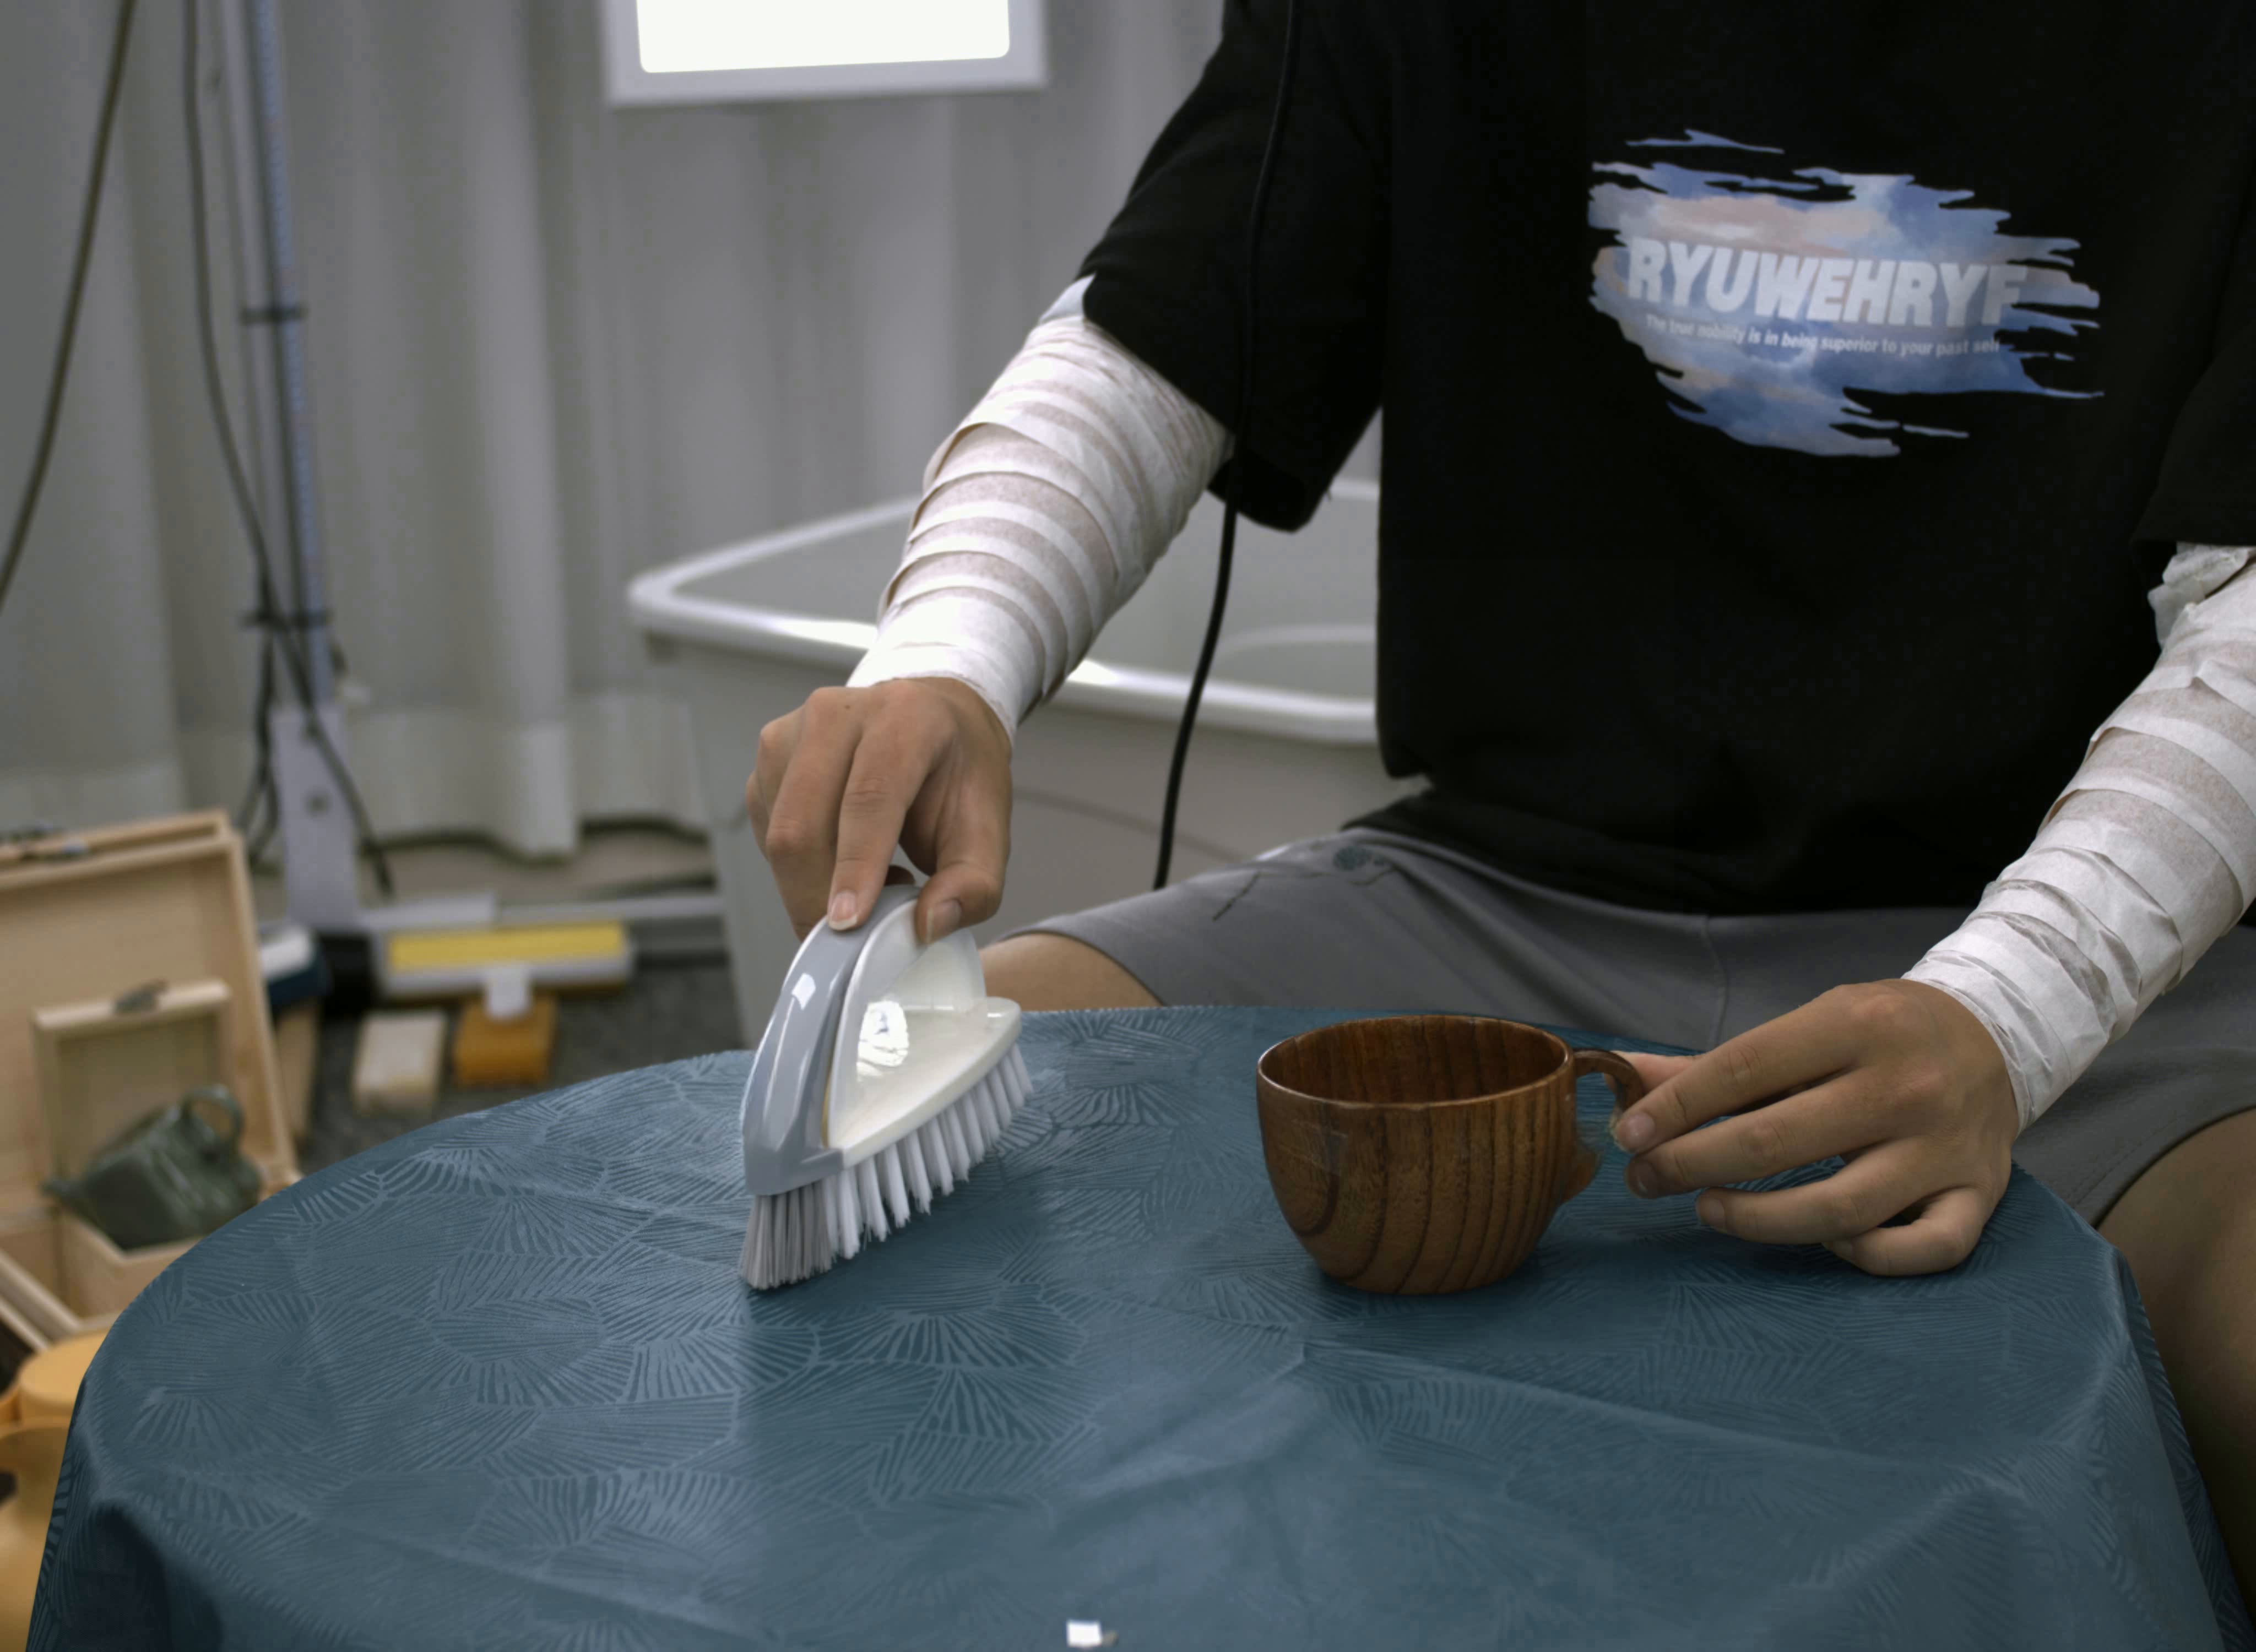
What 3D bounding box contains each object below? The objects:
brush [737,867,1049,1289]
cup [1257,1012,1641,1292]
[{"bbox_3d":[-0.083,0.072,1.702,0.061,0.094,0.176,-5,18,23],"label":"brush"},{"bbox_3d":[0.098,0.098,1.630,0.119,0.067,0.097,-6,12,-16],"label":"cup"}]
